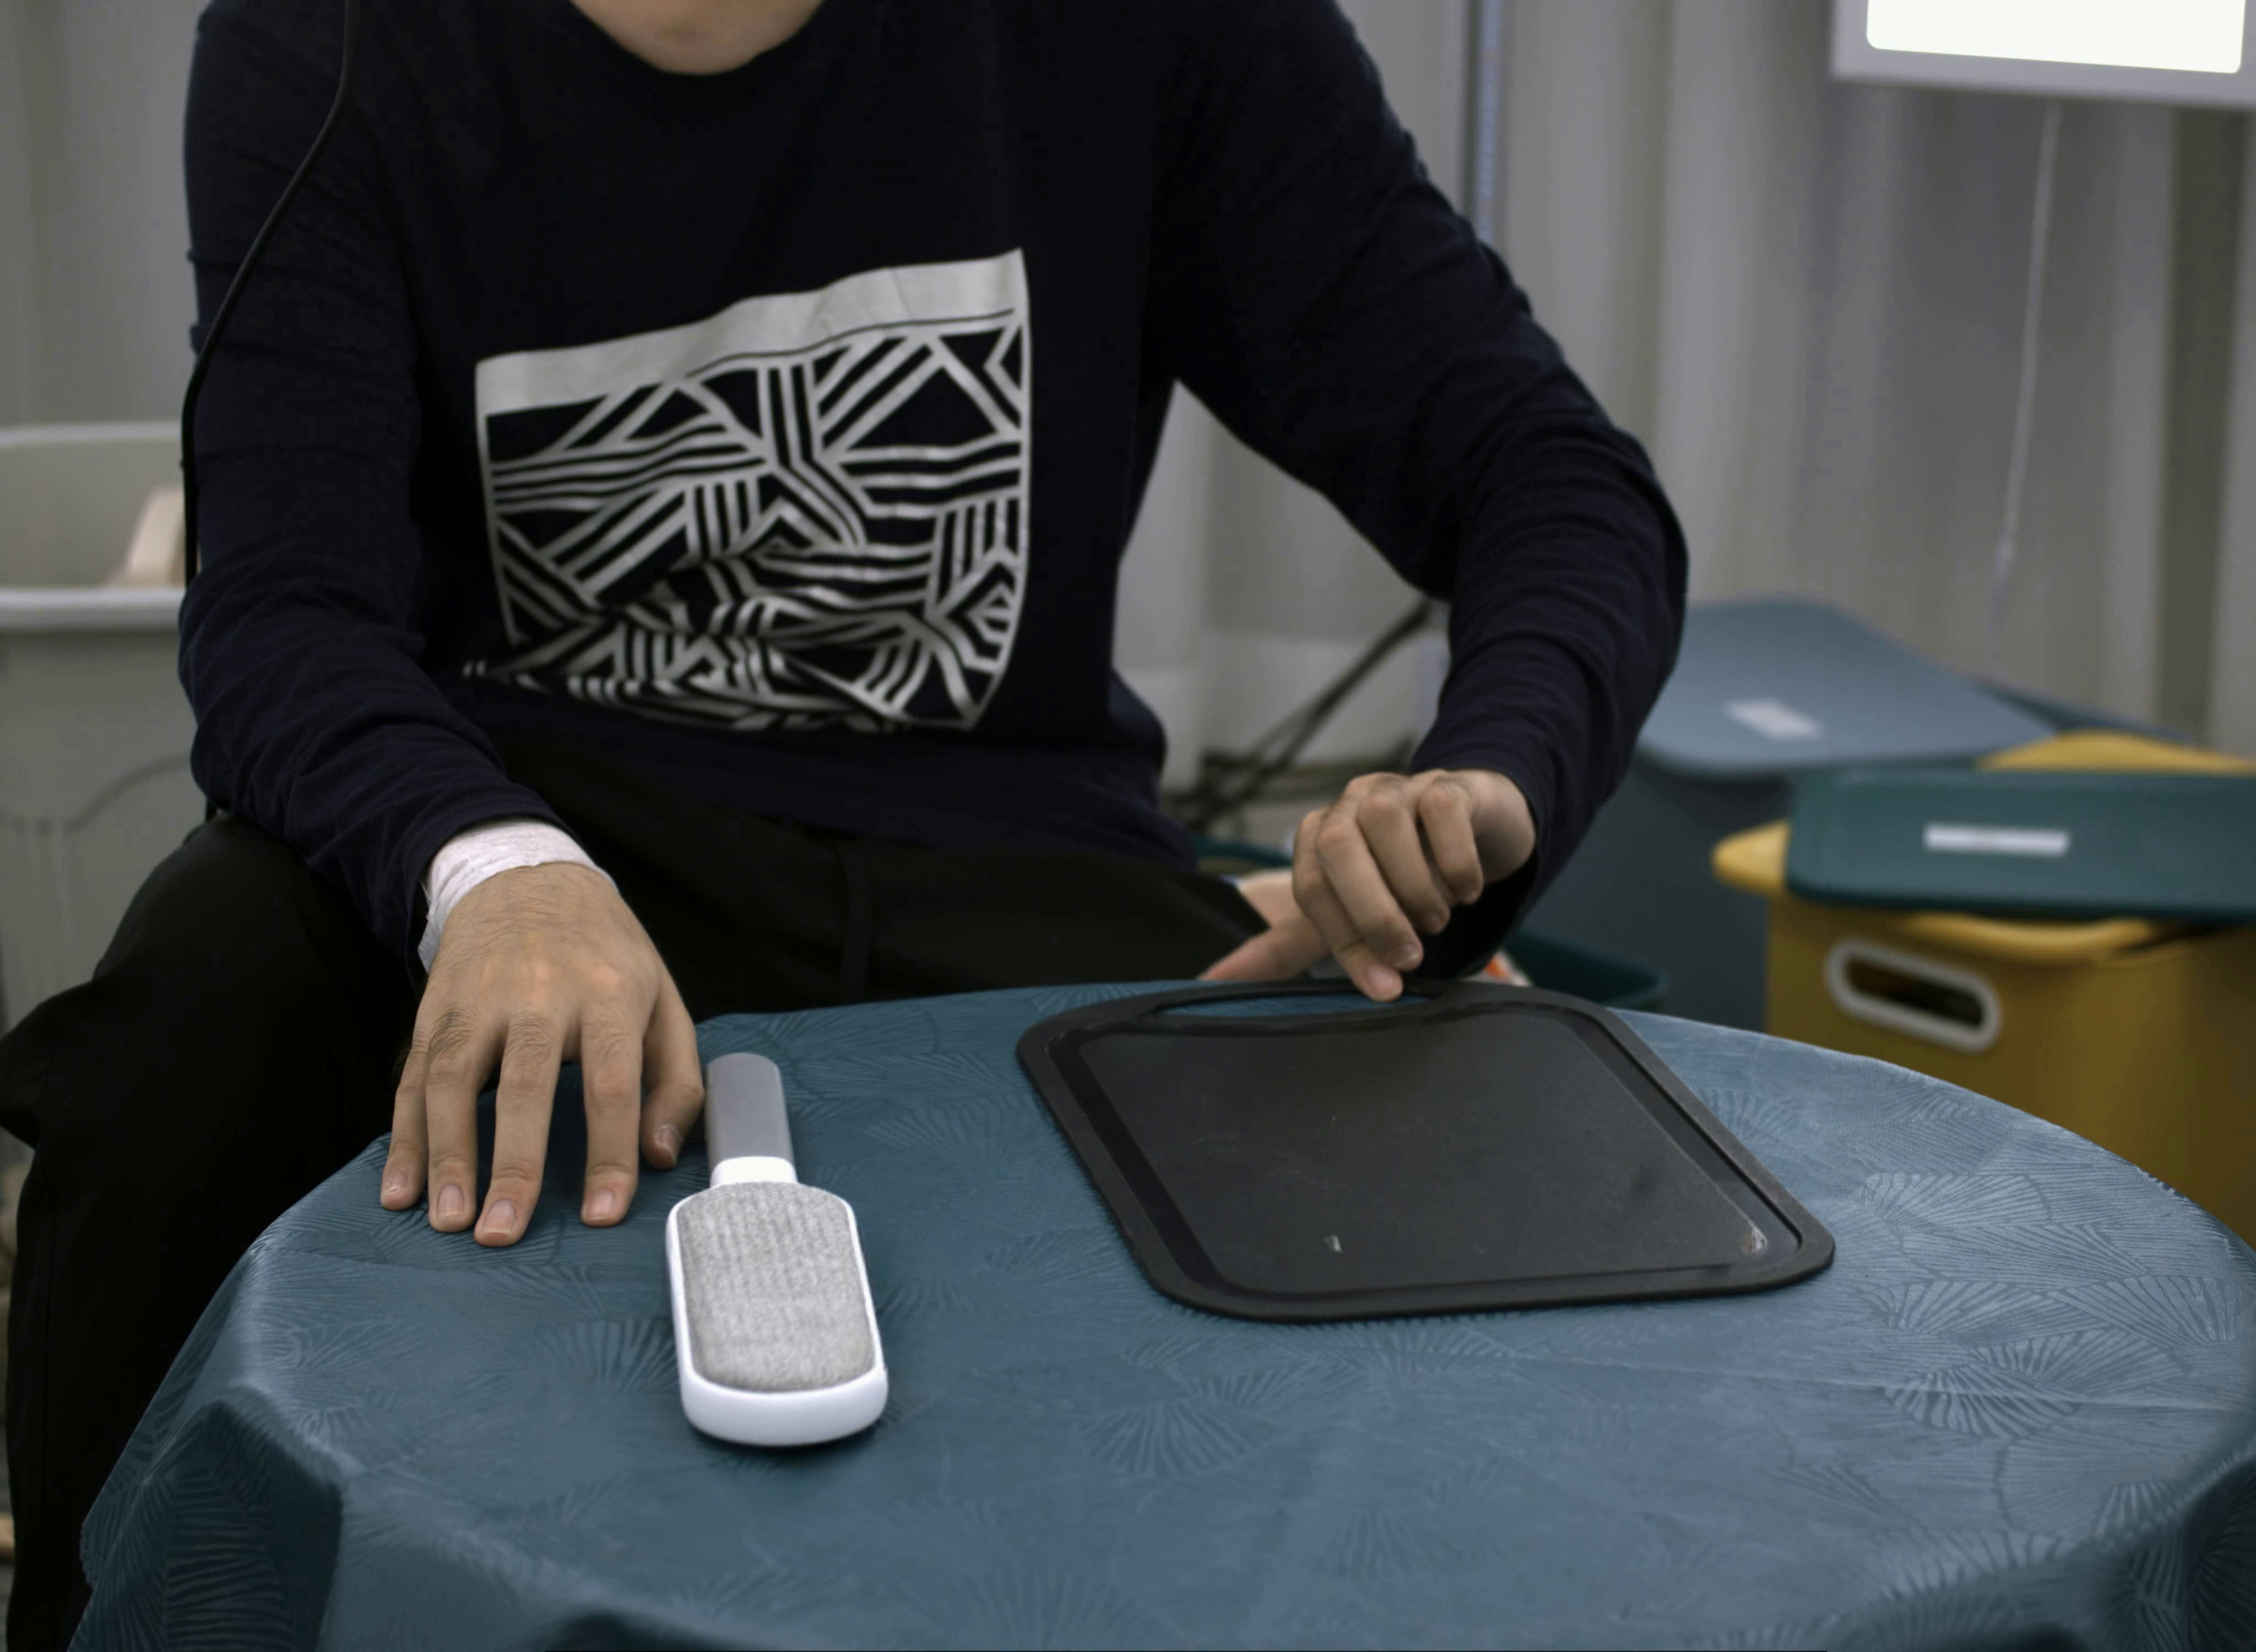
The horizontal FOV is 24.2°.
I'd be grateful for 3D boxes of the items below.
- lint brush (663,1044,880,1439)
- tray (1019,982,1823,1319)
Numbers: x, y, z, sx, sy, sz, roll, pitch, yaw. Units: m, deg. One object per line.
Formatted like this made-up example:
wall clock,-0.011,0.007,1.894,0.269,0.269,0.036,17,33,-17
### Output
lint brush,-0.107,0.117,1.551,0.060,0.021,0.306,-6,16,-5
tray,0.083,0.096,1.676,0.211,0.010,0.322,-2,15,-11
